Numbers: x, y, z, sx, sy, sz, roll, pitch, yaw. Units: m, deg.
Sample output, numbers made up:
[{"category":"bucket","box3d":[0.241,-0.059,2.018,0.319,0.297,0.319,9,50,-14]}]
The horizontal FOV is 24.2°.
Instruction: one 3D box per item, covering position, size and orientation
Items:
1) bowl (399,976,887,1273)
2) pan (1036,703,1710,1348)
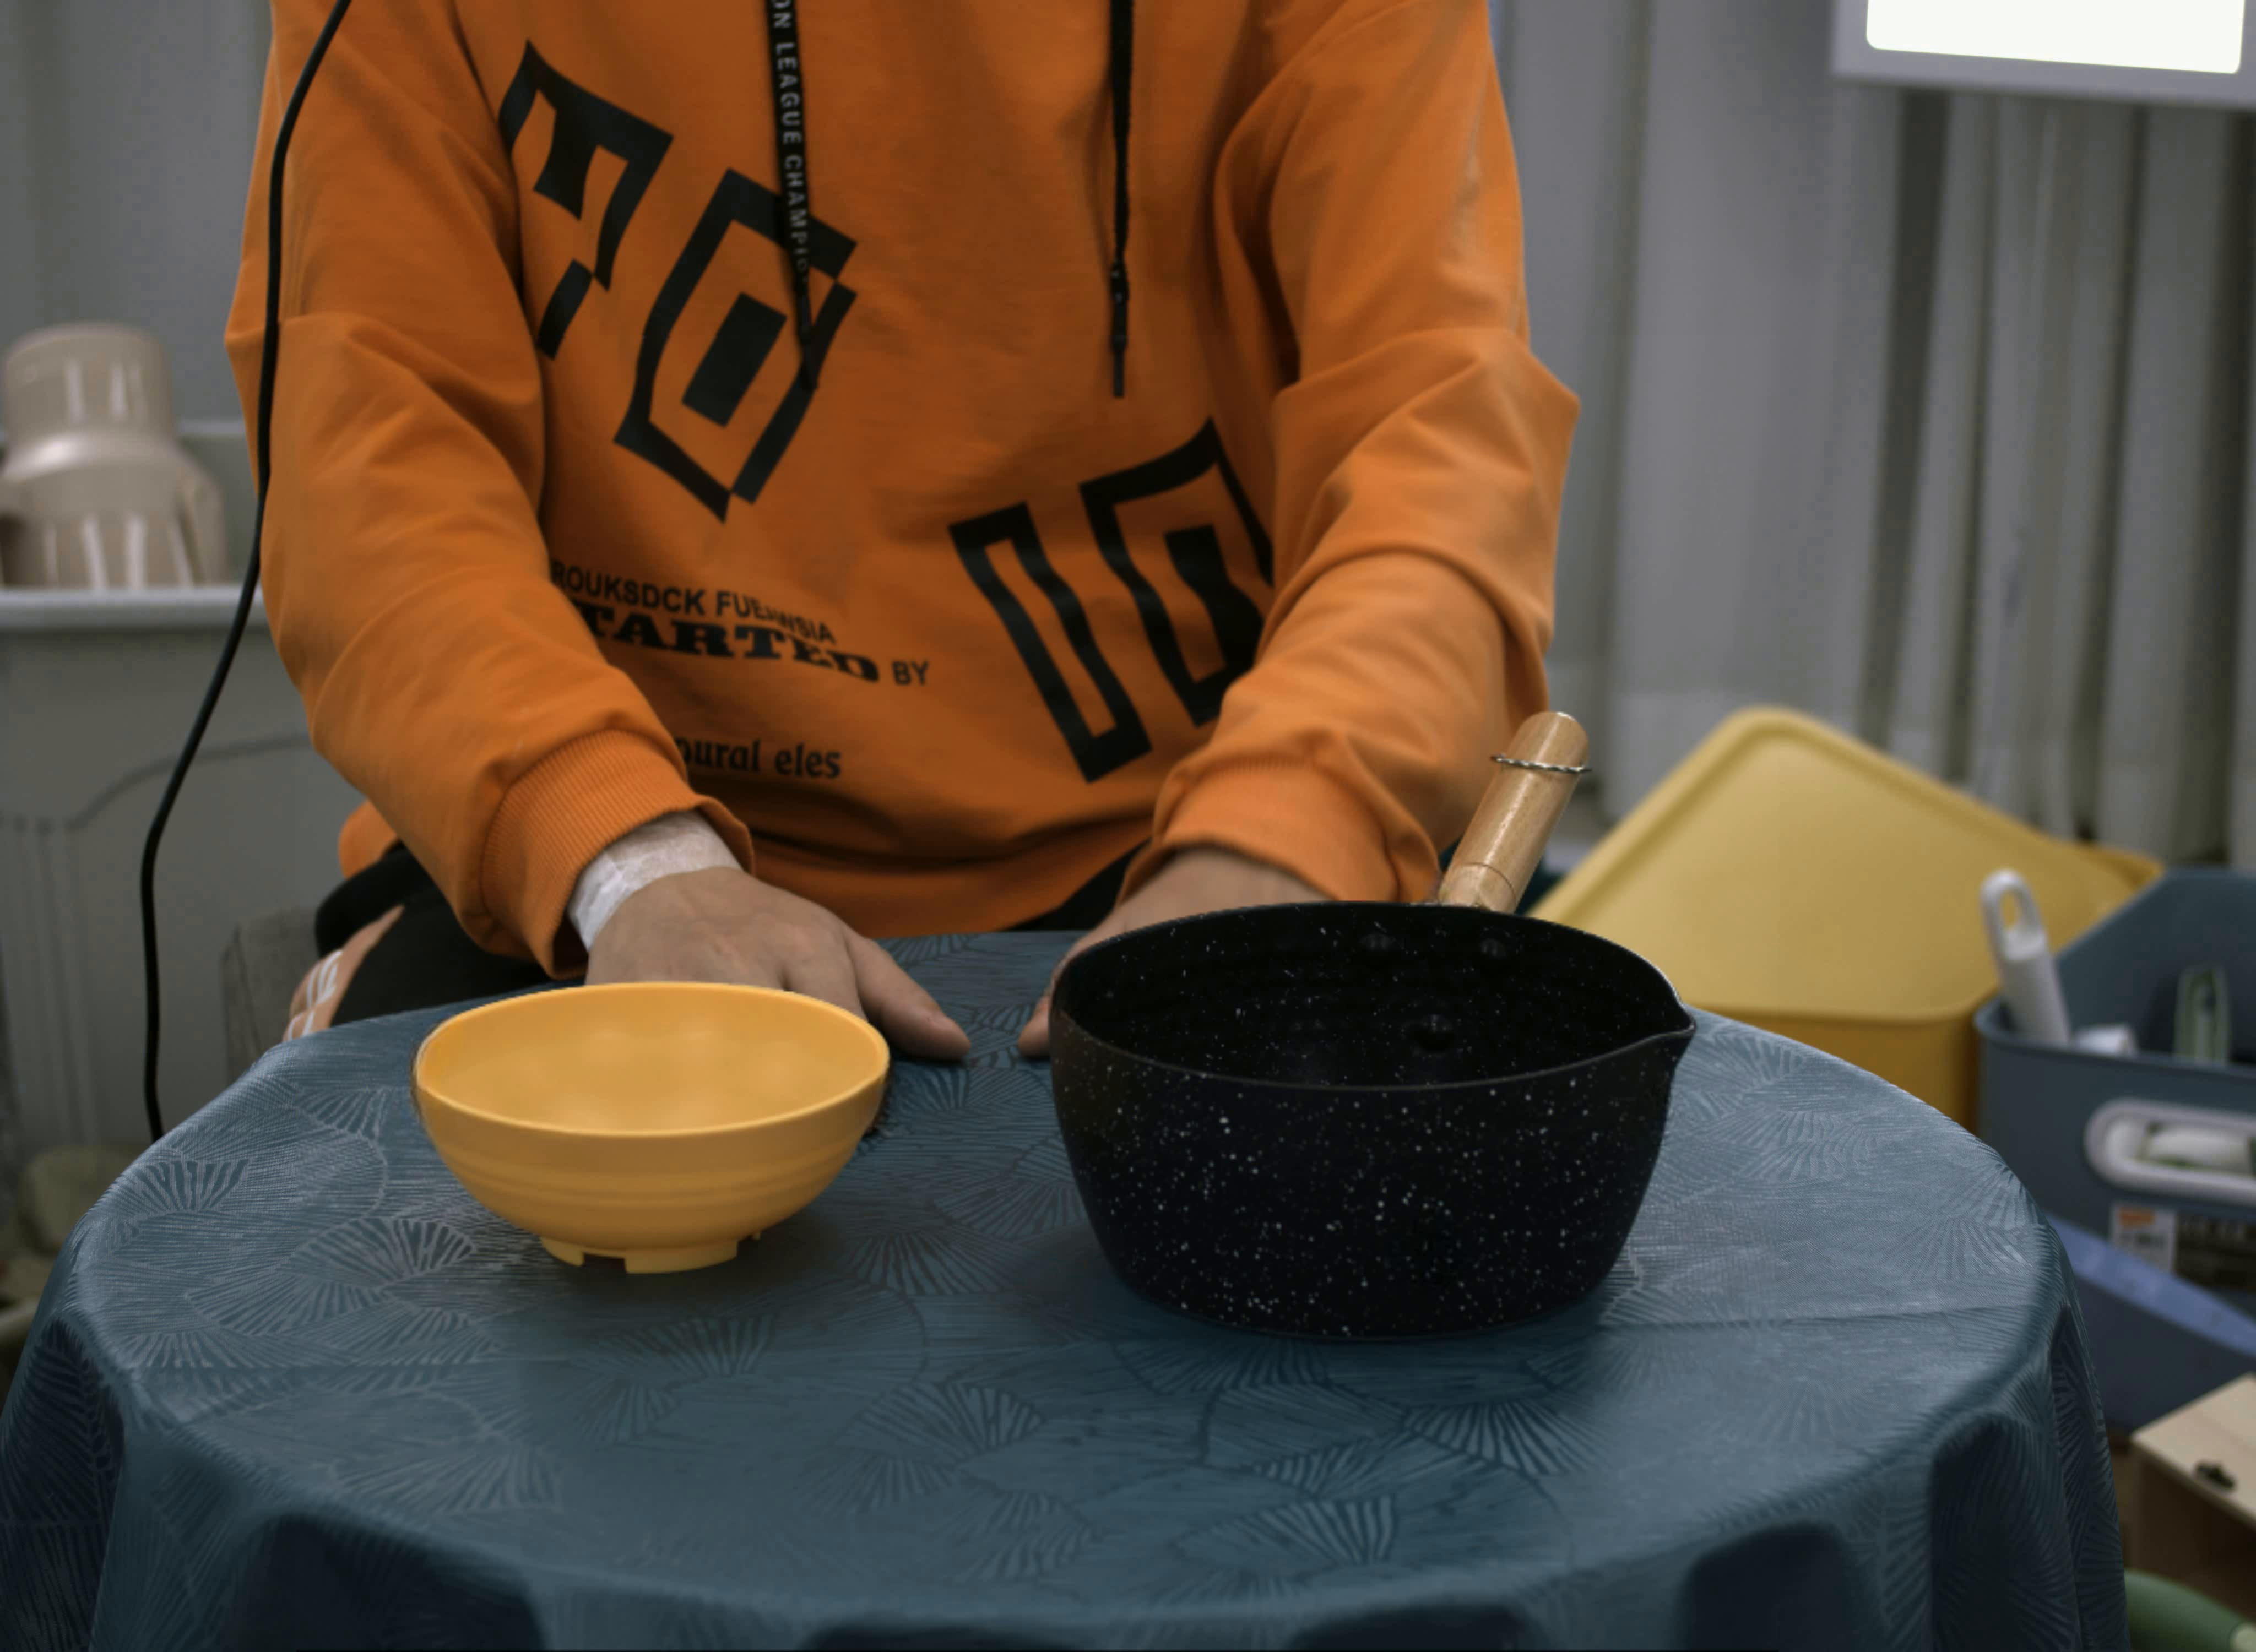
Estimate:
[{"category":"bowl","box3d":[-0.145,0.095,1.572,0.145,0.060,0.144,2,16,0]},{"category":"pan","box3d":[0.092,0.056,1.625,0.206,0.109,0.342,4,17,16]}]
